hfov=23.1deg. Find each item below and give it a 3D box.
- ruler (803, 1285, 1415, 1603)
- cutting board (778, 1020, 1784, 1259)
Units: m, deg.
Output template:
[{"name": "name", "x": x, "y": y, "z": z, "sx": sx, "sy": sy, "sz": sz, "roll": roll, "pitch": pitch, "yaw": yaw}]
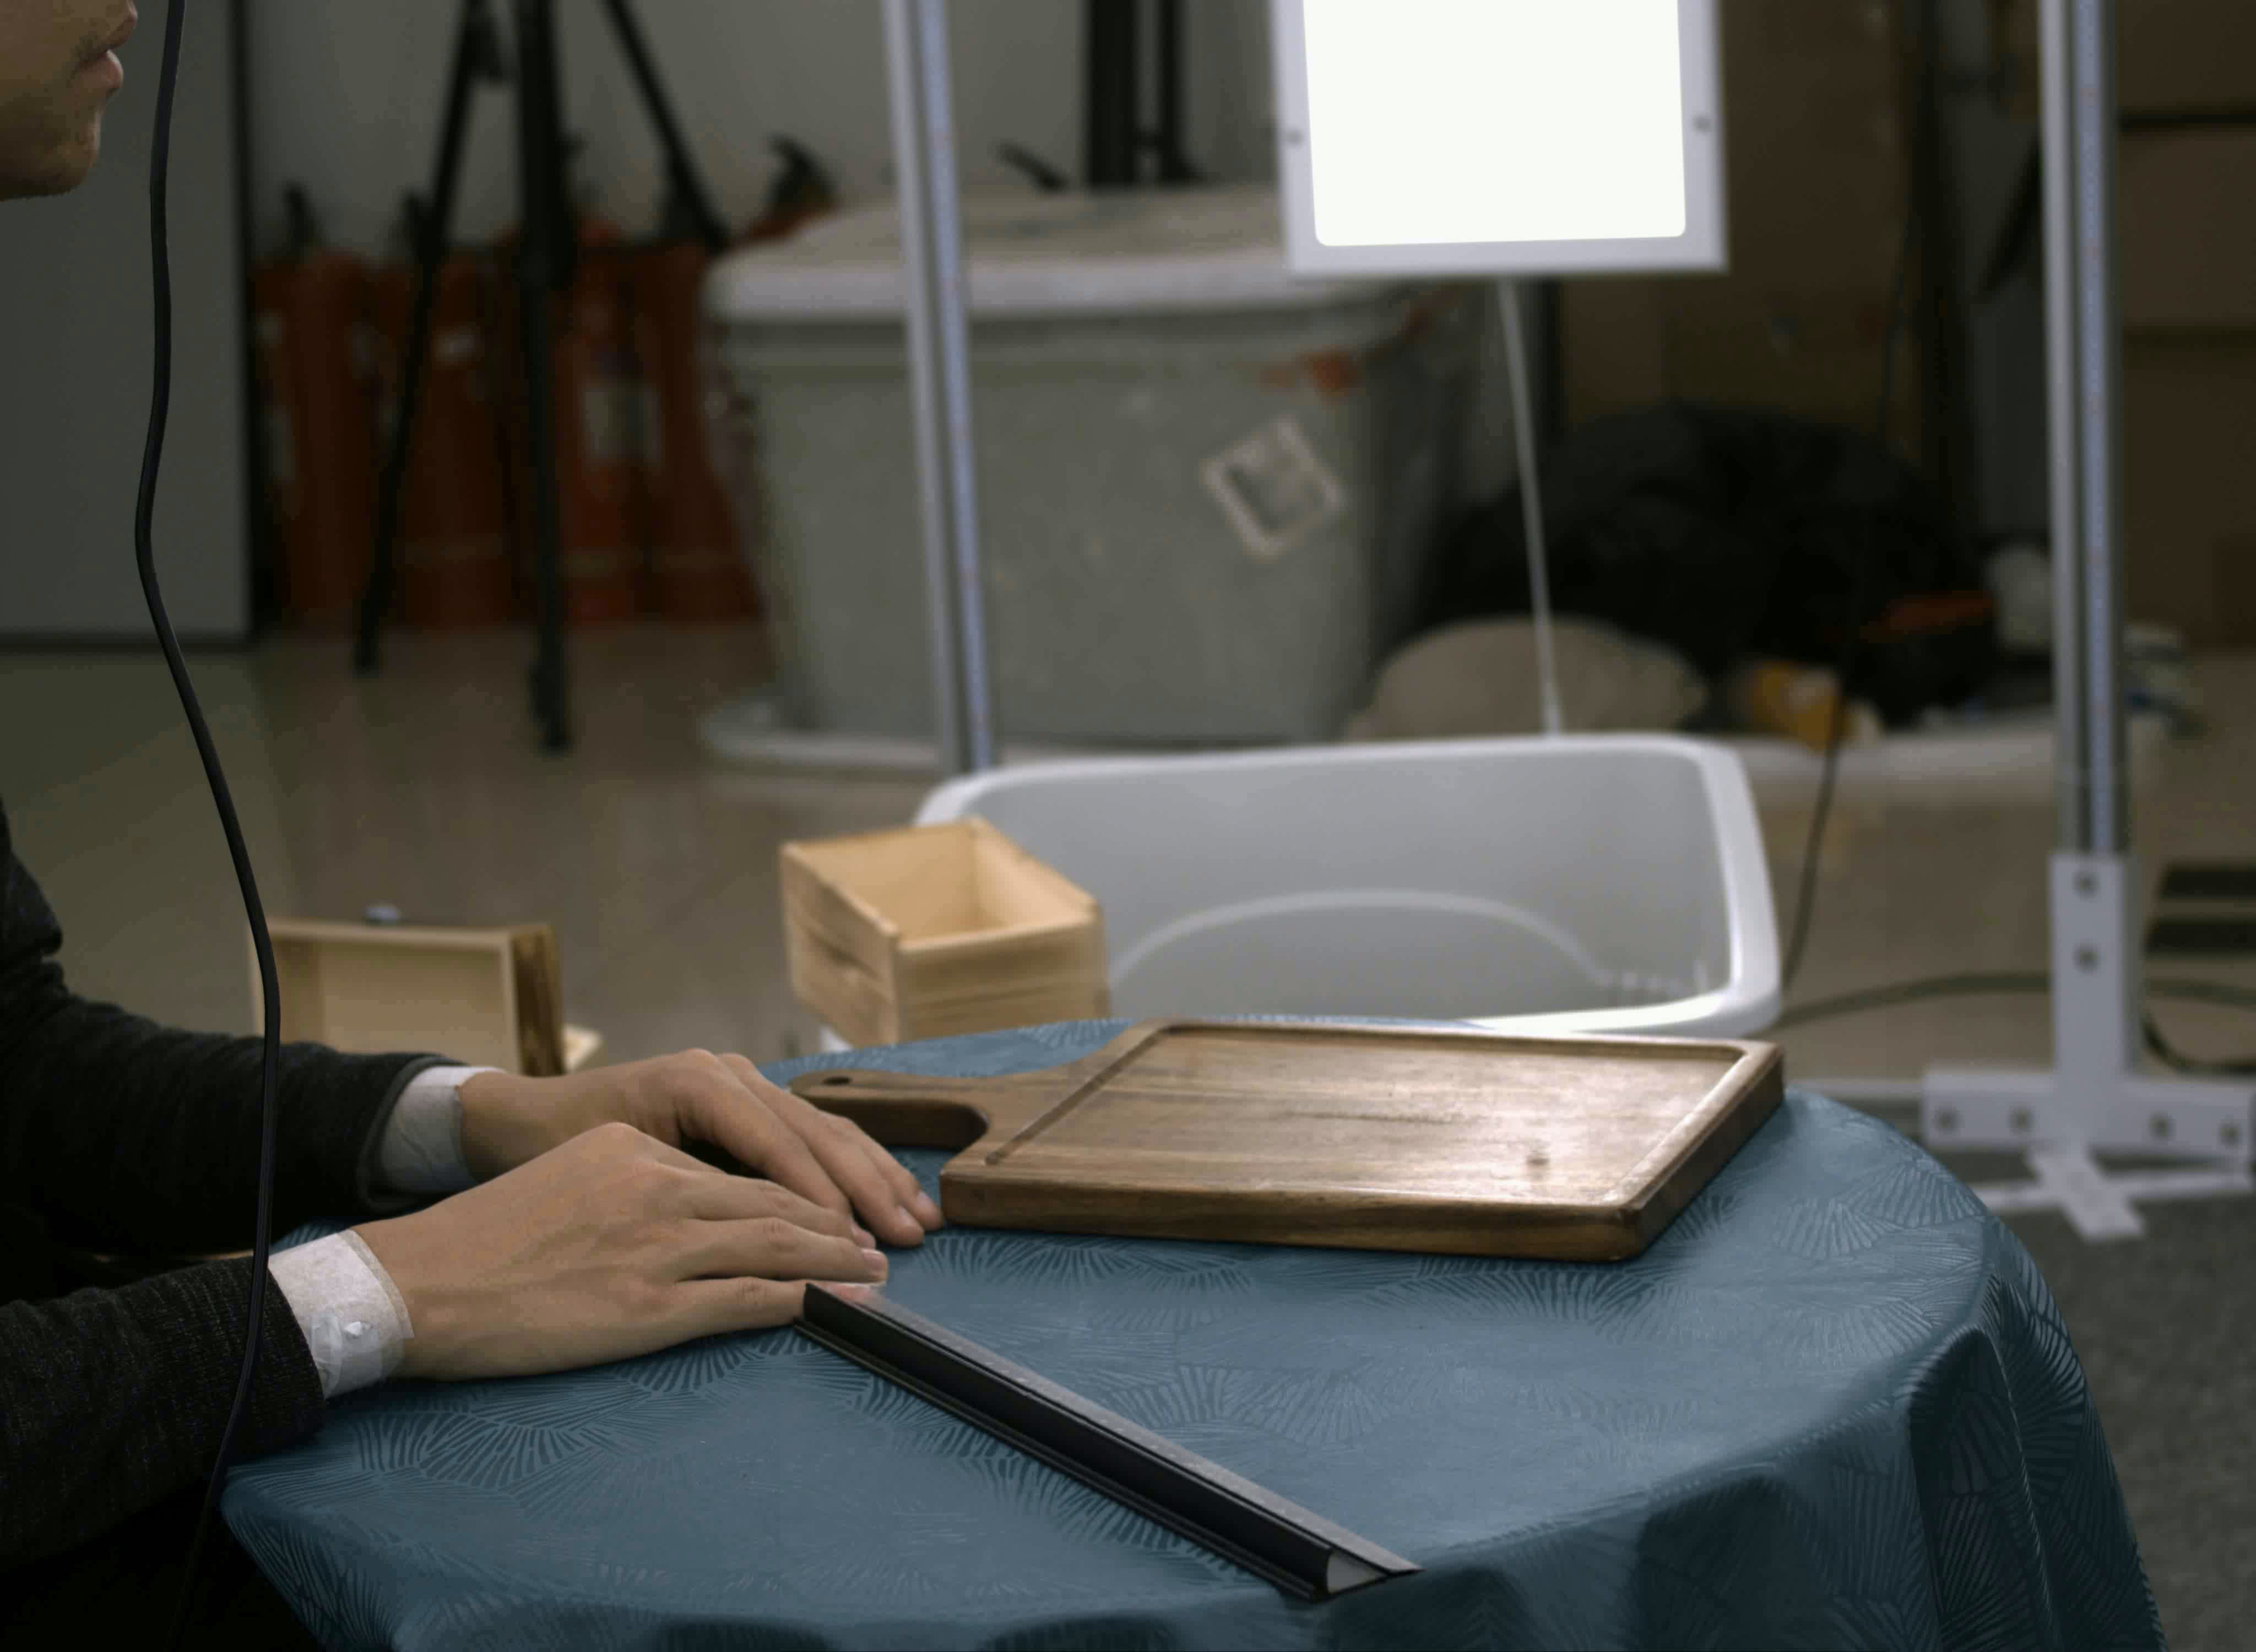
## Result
[{"name": "ruler", "x": -0.012, "y": 0.179, "z": 1.658, "sx": 0.038, "sy": 0.017, "sz": 0.318, "roll": -9, "pitch": 14, "yaw": -28}, {"name": "cutting board", "x": 0.039, "y": 0.105, "z": 1.928, "sx": 0.358, "sy": 0.023, "sz": 0.197, "roll": 1, "pitch": 15, "yaw": 24}]
